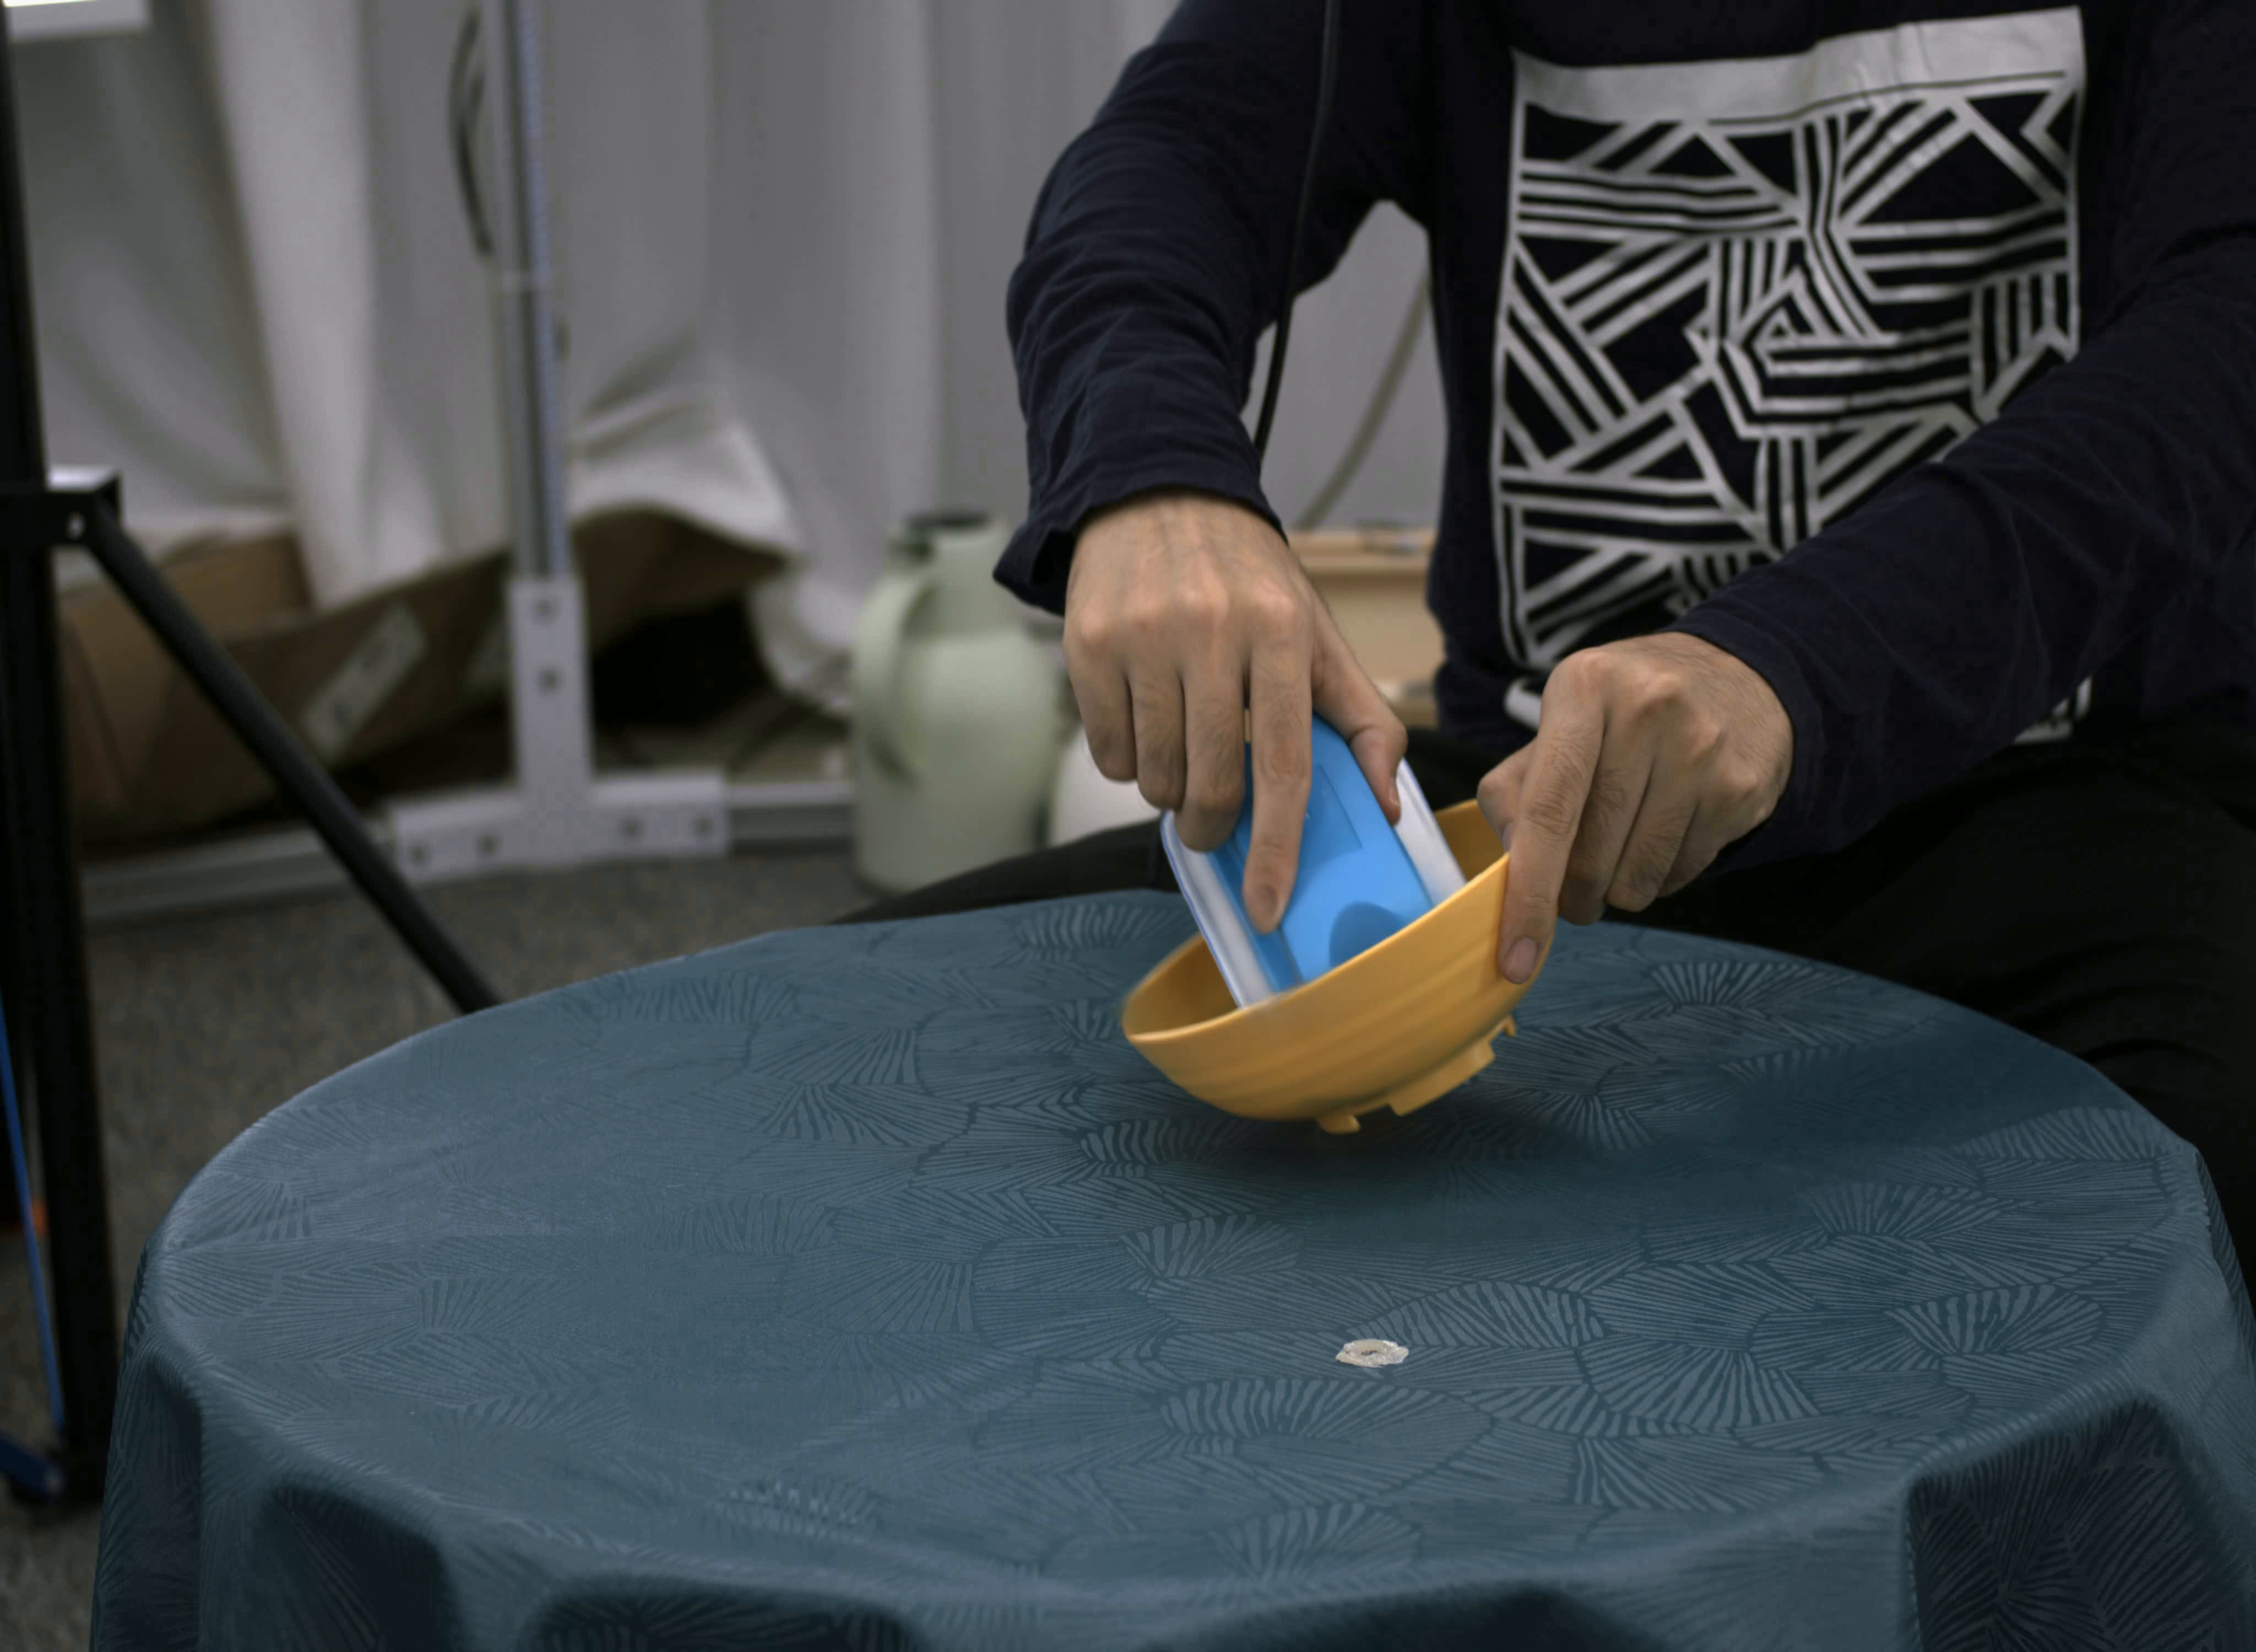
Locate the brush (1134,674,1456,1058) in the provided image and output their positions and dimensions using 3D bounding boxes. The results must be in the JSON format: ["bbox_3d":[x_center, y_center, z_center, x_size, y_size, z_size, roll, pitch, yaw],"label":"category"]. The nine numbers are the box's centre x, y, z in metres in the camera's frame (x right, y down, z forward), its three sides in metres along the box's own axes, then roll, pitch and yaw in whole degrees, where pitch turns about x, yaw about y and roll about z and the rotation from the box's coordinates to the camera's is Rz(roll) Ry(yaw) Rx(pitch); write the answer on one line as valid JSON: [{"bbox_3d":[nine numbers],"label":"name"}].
[{"bbox_3d":[0.055,0.006,1.601,0.083,0.055,0.146,-15,44,-6],"label":"brush"}]

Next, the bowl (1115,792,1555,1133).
[{"bbox_3d":[0.072,0.051,1.601,0.145,0.060,0.146,-26,13,4],"label":"bowl"}]
